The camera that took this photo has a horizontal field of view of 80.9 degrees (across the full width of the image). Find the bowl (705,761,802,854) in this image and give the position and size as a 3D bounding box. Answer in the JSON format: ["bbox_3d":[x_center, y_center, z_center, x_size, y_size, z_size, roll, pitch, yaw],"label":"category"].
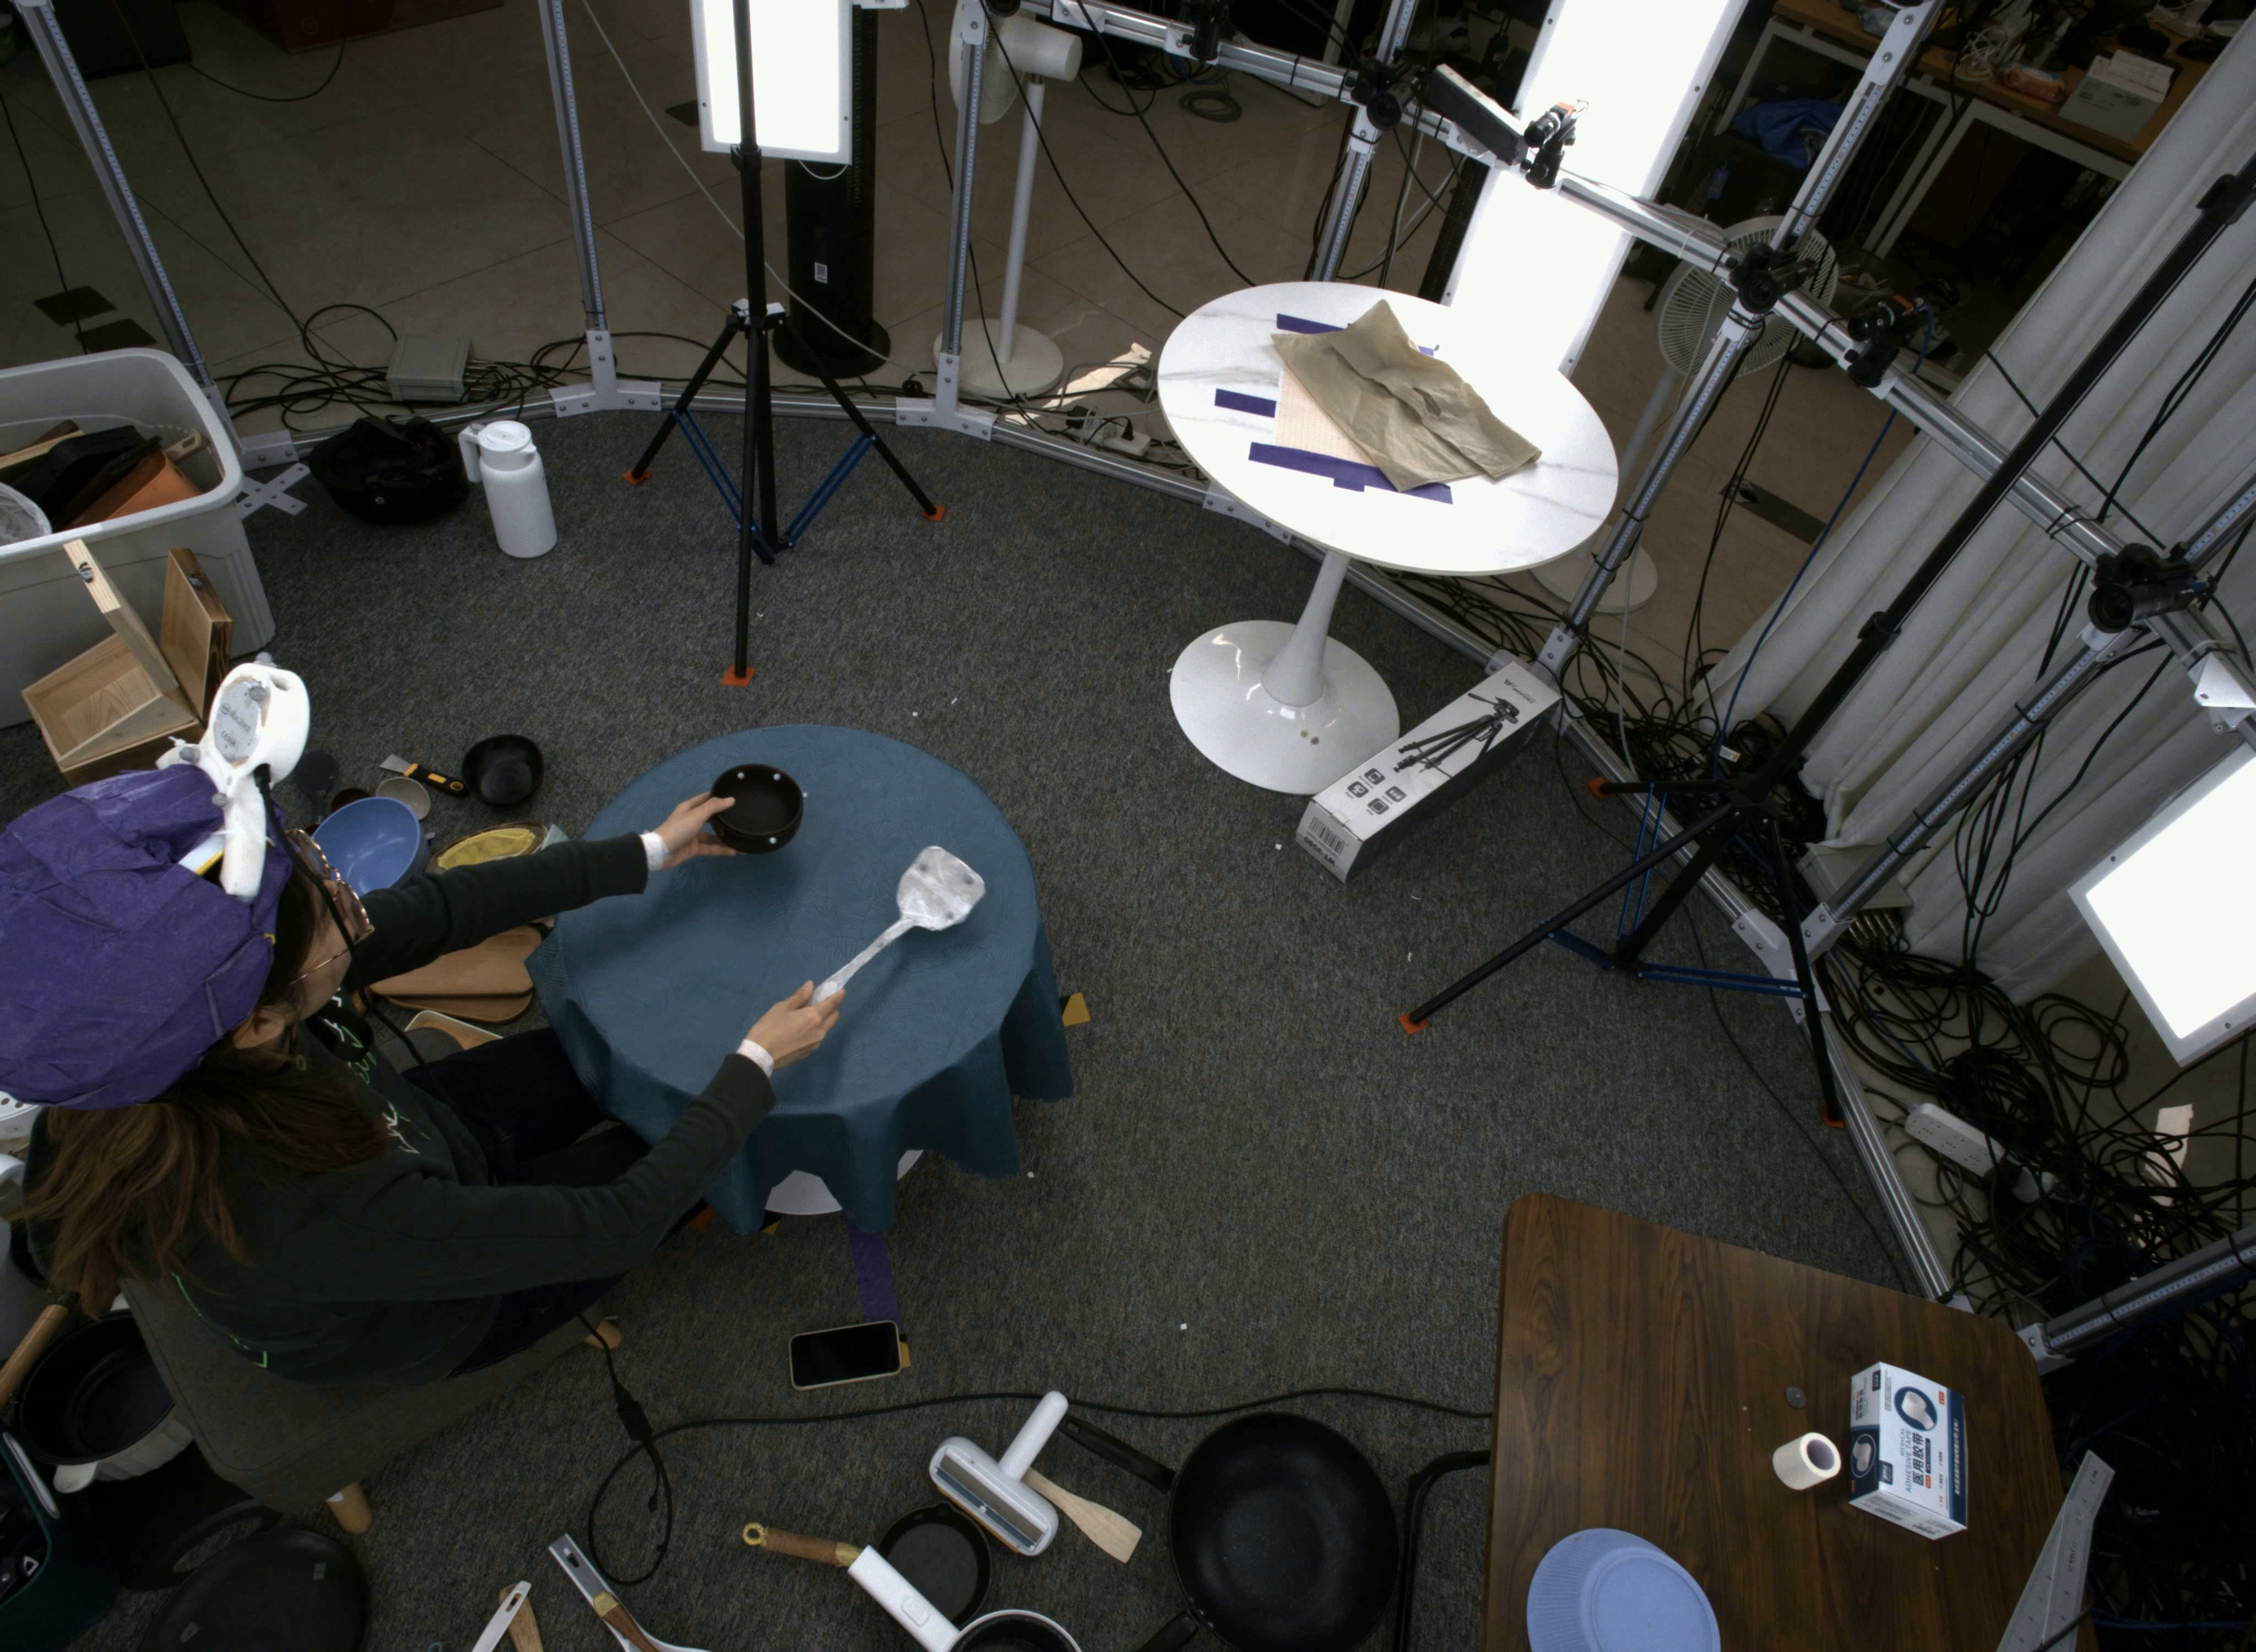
[{"bbox_3d":[-0.472,-0.016,1.628,0.118,0.071,0.116,11,50,-12],"label":"bowl"}]

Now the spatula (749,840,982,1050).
[{"bbox_3d":[-0.315,0.145,1.556,0.098,0.045,0.364,39,47,7],"label":"spatula"}]
